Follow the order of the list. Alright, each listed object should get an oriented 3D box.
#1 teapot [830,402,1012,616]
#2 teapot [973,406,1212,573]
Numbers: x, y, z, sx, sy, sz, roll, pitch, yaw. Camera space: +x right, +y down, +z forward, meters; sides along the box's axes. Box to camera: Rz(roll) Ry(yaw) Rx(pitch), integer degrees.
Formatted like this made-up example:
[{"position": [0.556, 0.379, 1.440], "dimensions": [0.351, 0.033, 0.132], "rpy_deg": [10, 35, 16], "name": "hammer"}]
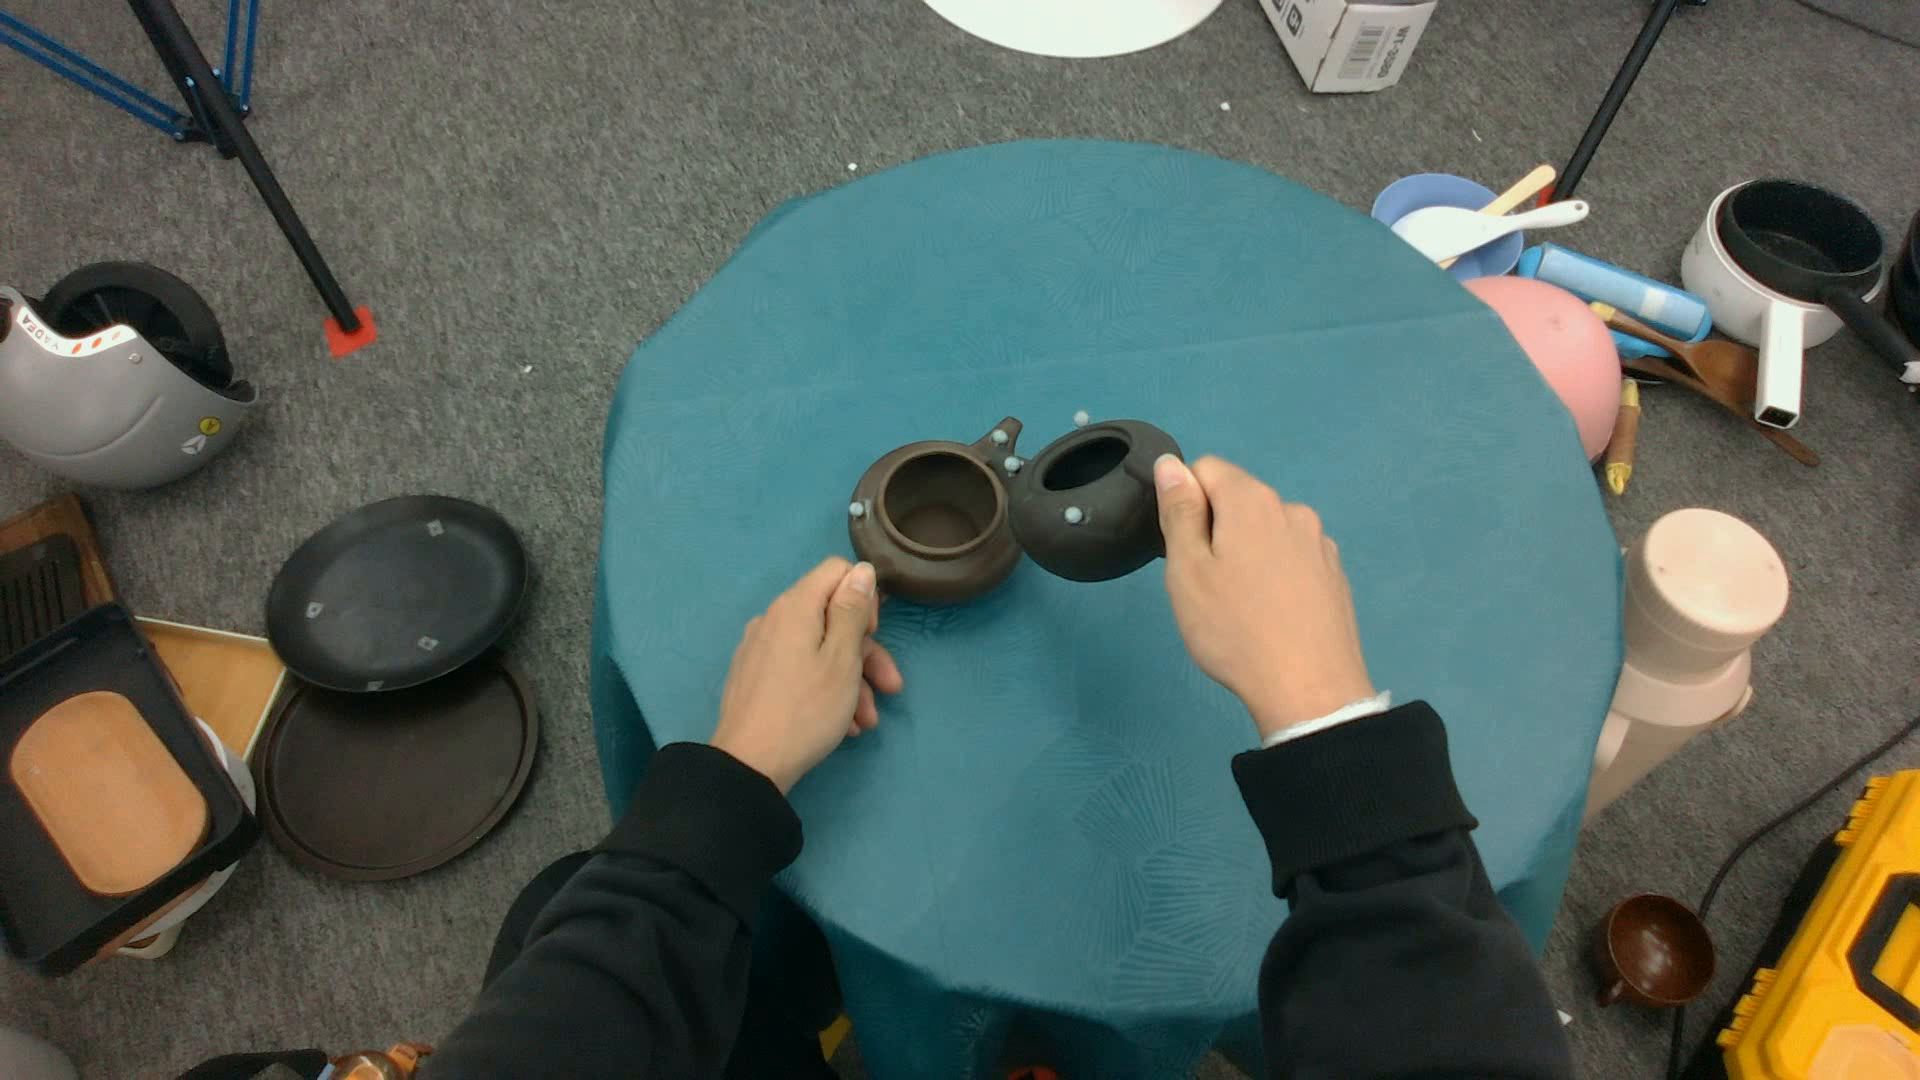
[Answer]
[{"position": [-0.021, -0.015, 0.769], "dimensions": [0.102, 0.053, 0.154], "rpy_deg": [29, 59, 15], "name": "teapot"}, {"position": [0.065, -0.025, 0.682], "dimensions": [0.093, 0.064, 0.154], "rpy_deg": [-45, 32, -25], "name": "teapot"}]
